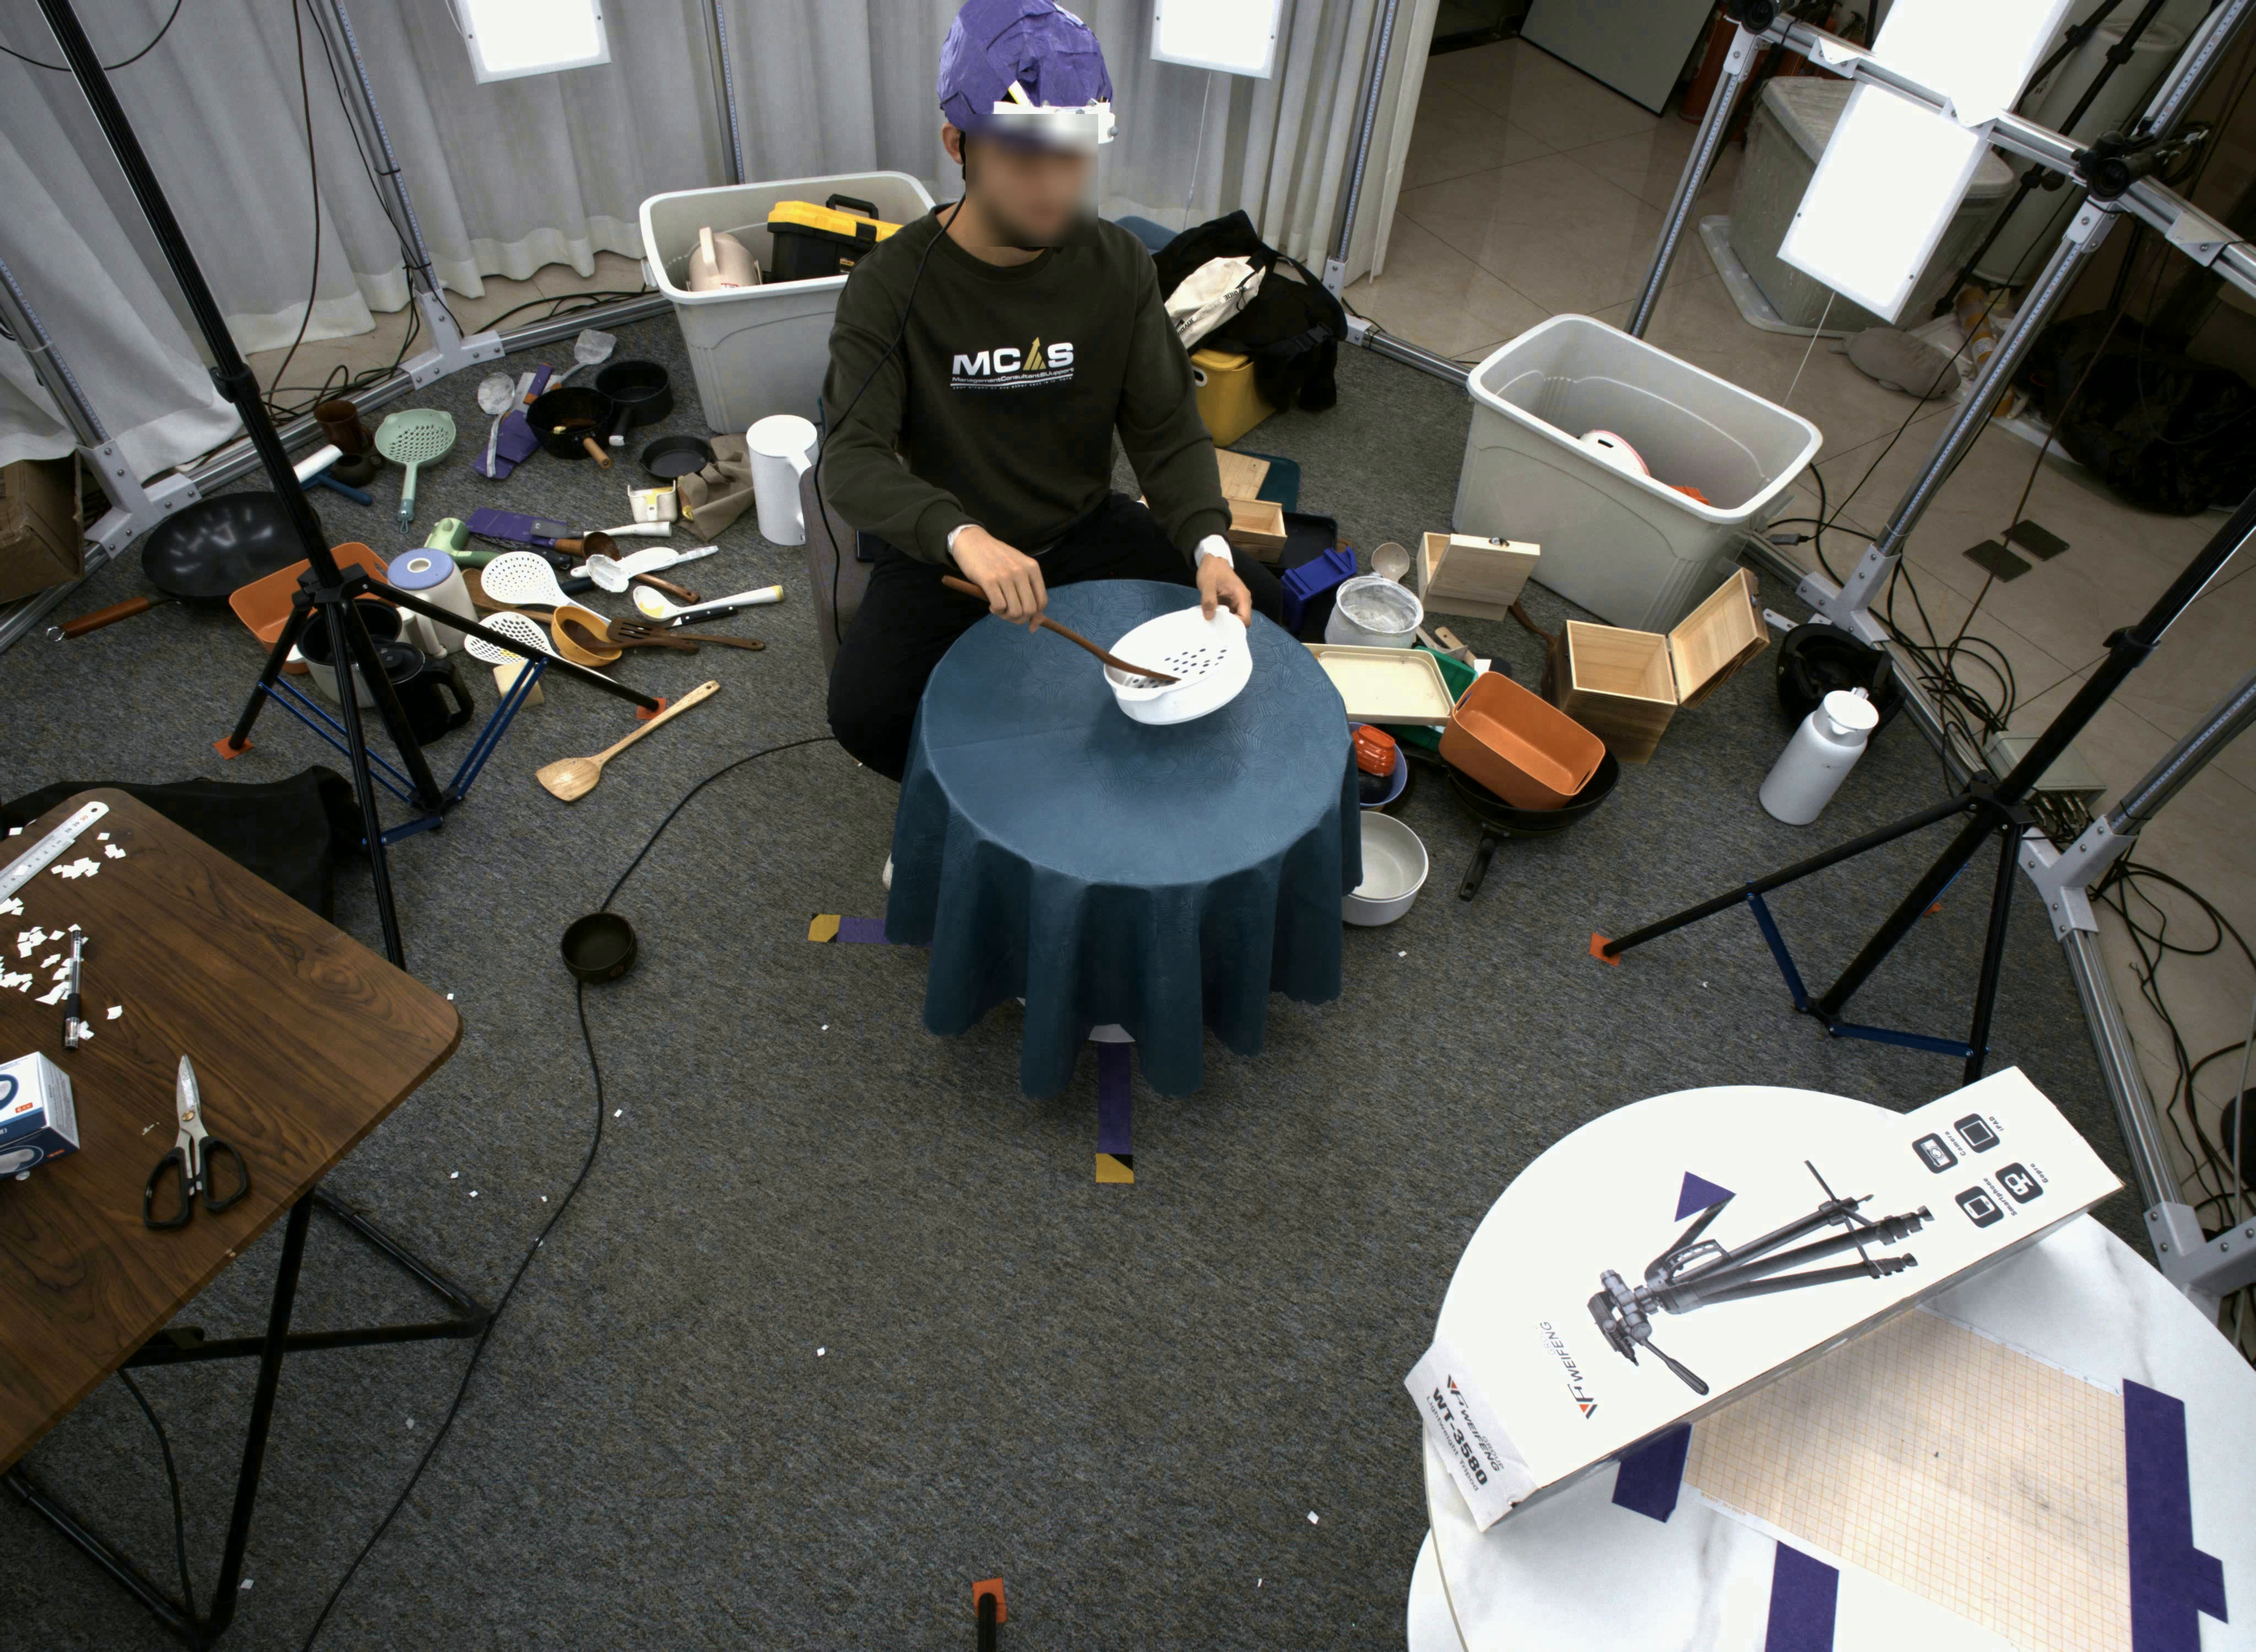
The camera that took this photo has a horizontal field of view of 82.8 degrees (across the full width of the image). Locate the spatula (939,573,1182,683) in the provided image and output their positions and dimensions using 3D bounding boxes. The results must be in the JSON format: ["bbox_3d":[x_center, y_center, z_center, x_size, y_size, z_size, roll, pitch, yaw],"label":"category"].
[{"bbox_3d":[-0.085,-0.249,1.668,0.380,0.023,0.087,20,3,-39],"label":"spatula"}]

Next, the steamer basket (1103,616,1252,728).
[{"bbox_3d":[0.070,-0.209,1.757,0.203,0.068,0.234,8,39,35],"label":"steamer basket"}]
